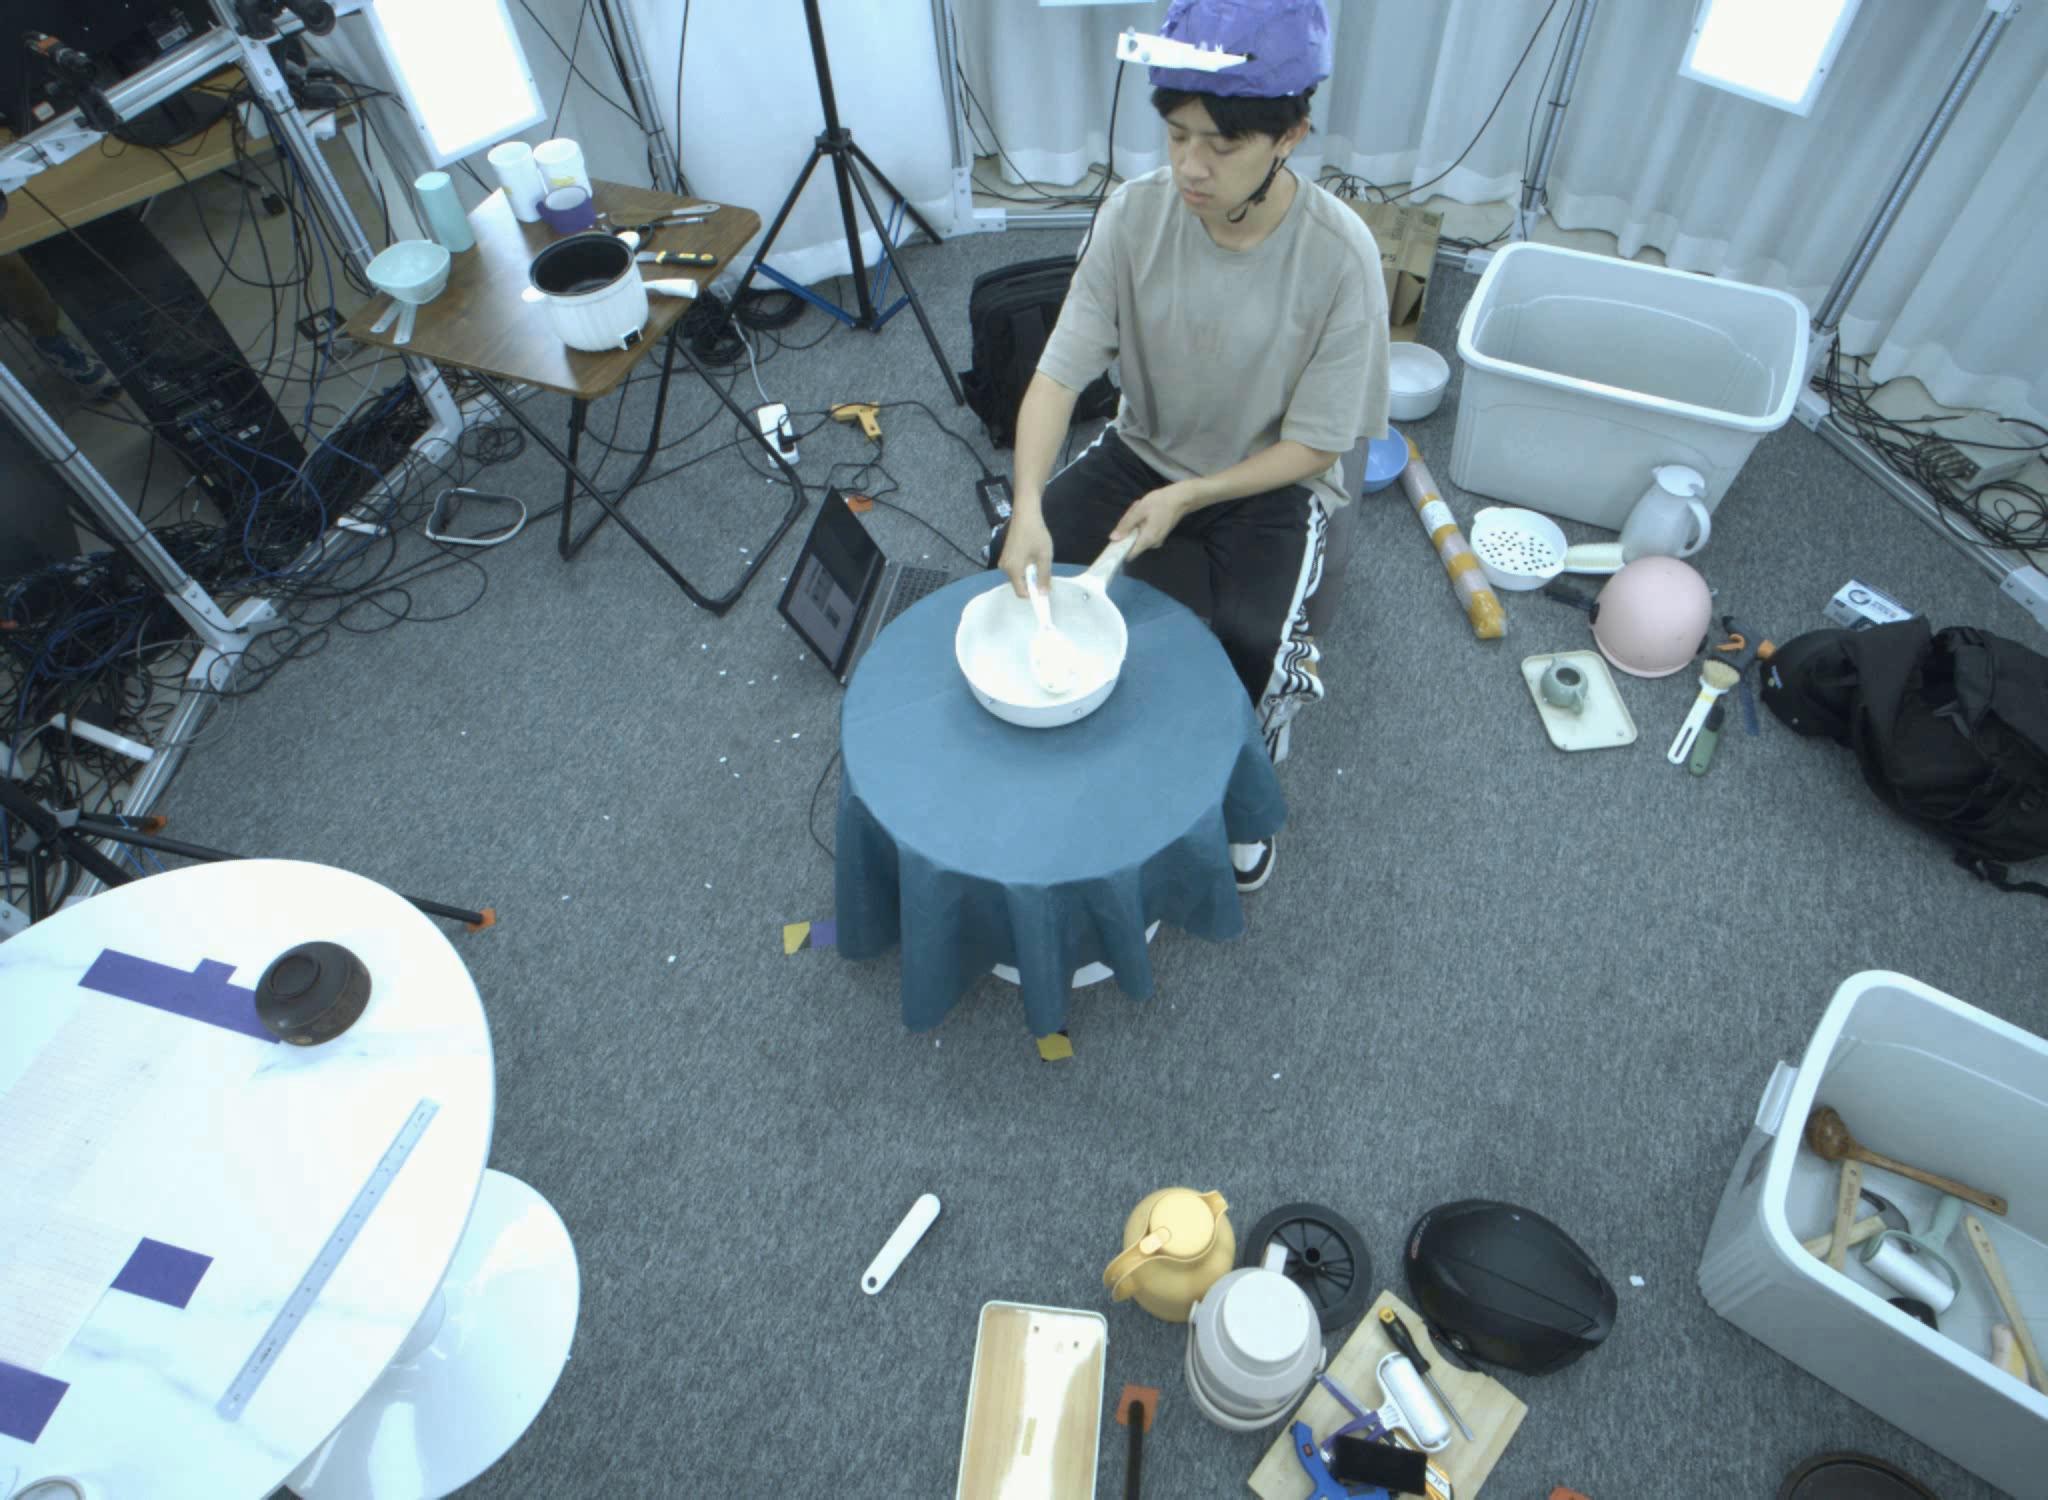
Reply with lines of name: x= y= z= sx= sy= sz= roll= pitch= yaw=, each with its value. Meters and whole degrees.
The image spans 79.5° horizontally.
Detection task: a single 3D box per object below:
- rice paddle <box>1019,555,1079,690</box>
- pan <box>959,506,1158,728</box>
rice paddle: x=0.032 y=-0.188 z=1.819 sx=0.069 sy=0.029 sz=0.205 roll=-14 pitch=87 yaw=-7
pan: x=0.085 y=-0.205 z=1.867 sx=0.259 sy=0.103 sz=0.437 roll=27 pitch=60 yaw=23
